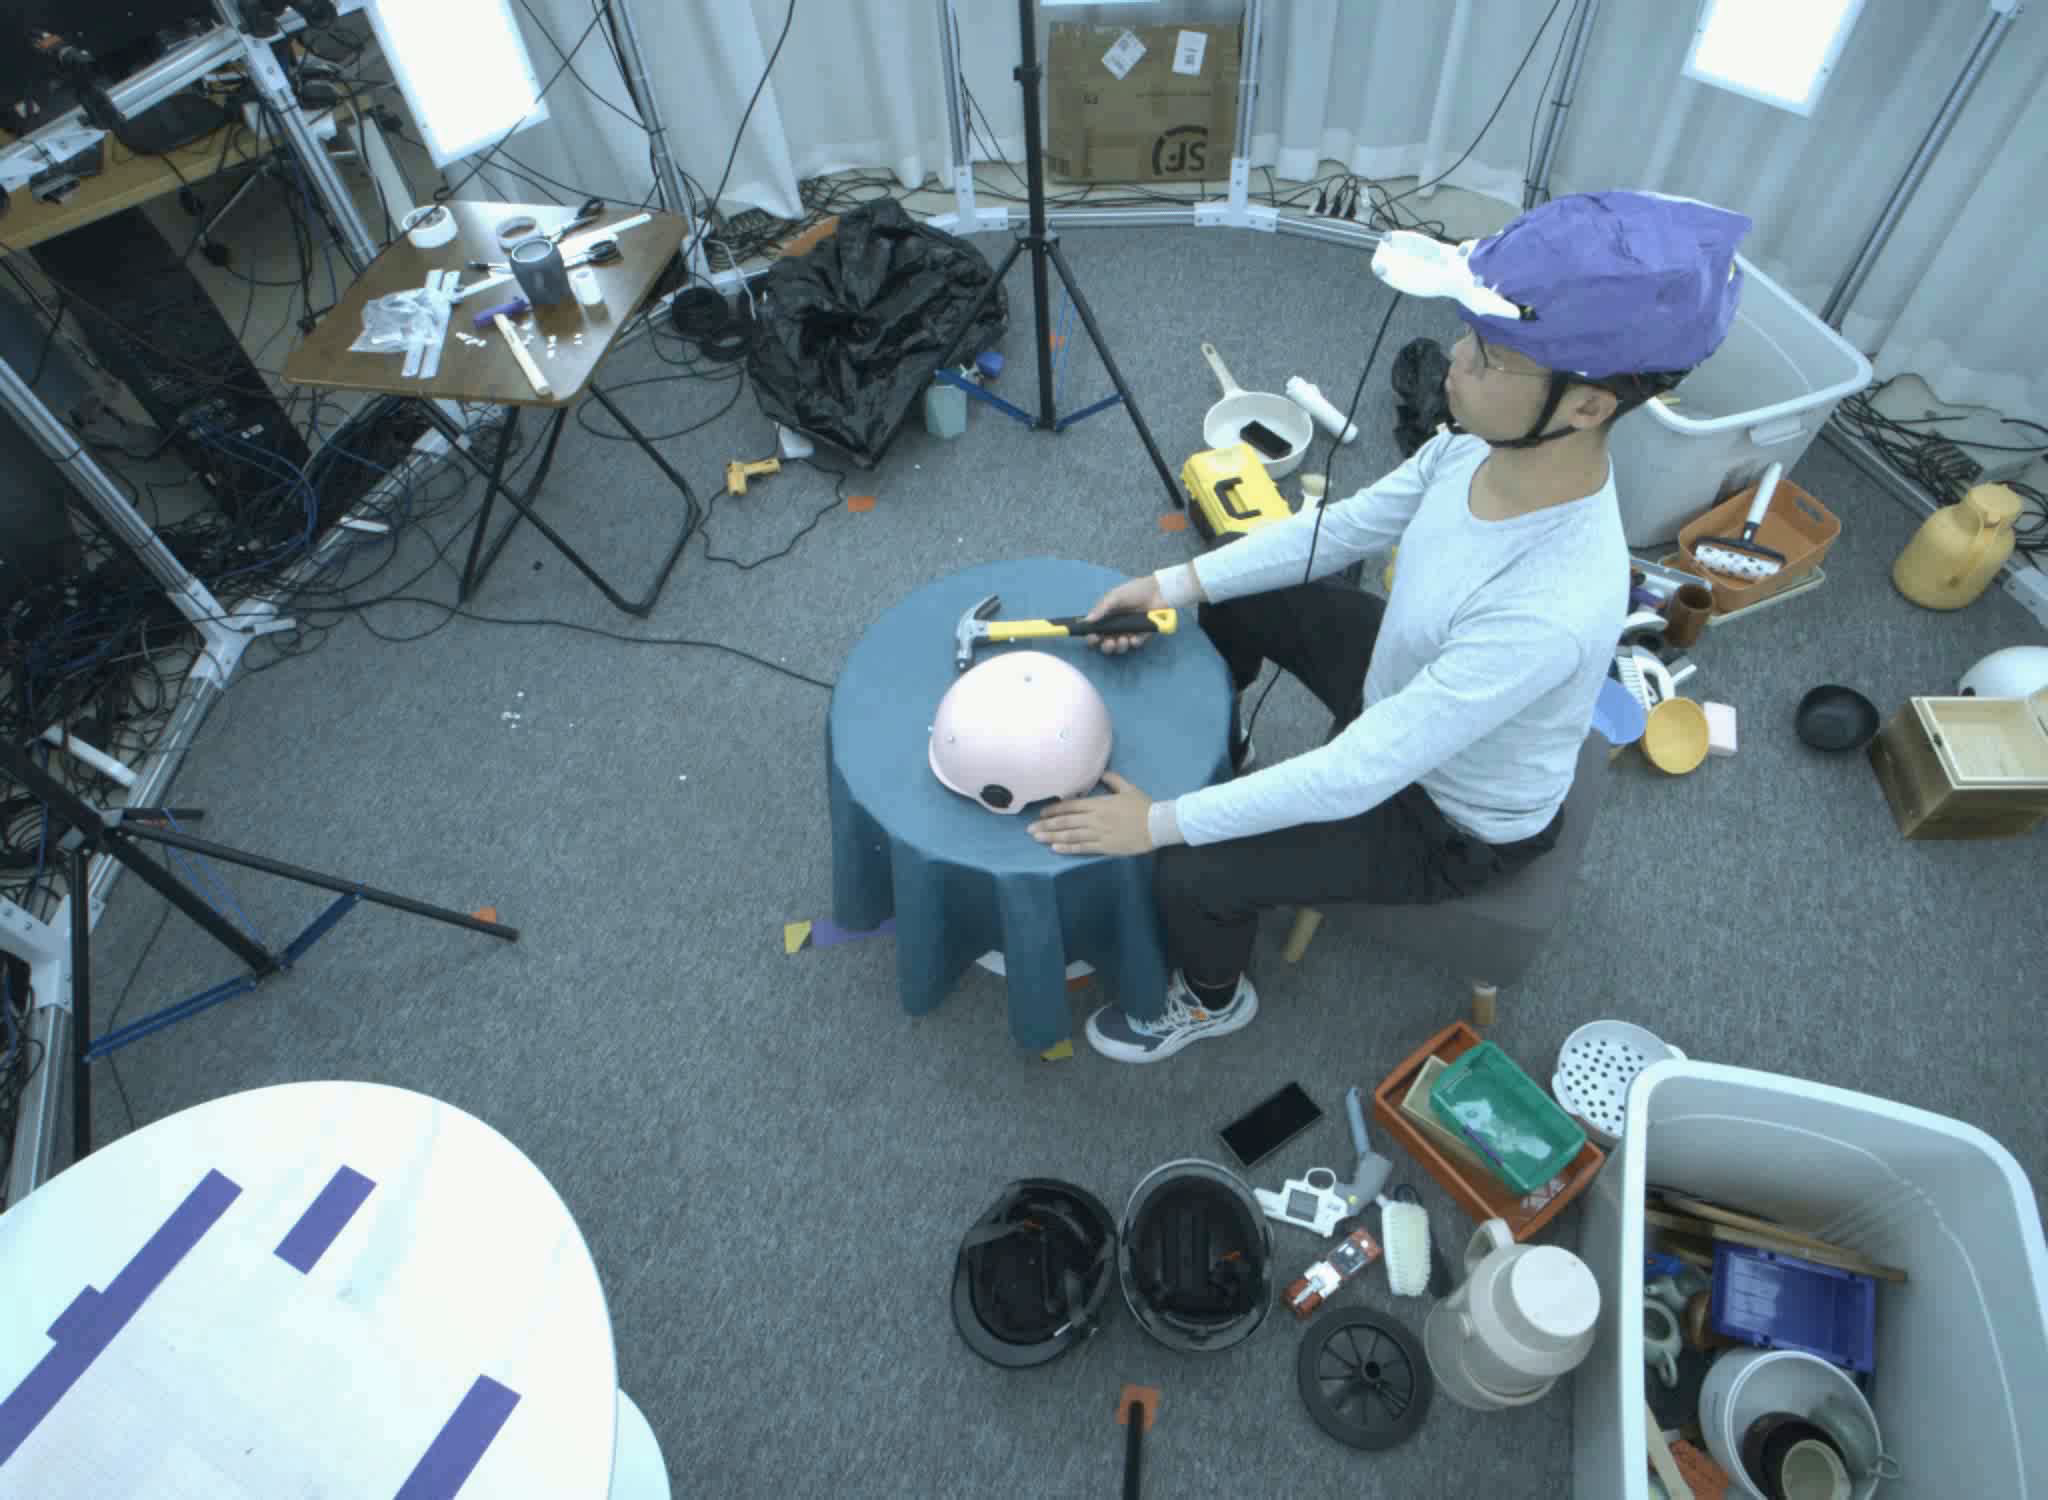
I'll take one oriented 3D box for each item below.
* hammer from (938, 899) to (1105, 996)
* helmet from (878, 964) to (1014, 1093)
[{"bbox_3d":[0.005,0.387,2.367,0.332,0.032,0.132,22,56,24],"label":"hammer"},{"bbox_3d":[-0.156,0.488,2.247,0.262,0.161,0.234,21,58,20],"label":"helmet"}]
